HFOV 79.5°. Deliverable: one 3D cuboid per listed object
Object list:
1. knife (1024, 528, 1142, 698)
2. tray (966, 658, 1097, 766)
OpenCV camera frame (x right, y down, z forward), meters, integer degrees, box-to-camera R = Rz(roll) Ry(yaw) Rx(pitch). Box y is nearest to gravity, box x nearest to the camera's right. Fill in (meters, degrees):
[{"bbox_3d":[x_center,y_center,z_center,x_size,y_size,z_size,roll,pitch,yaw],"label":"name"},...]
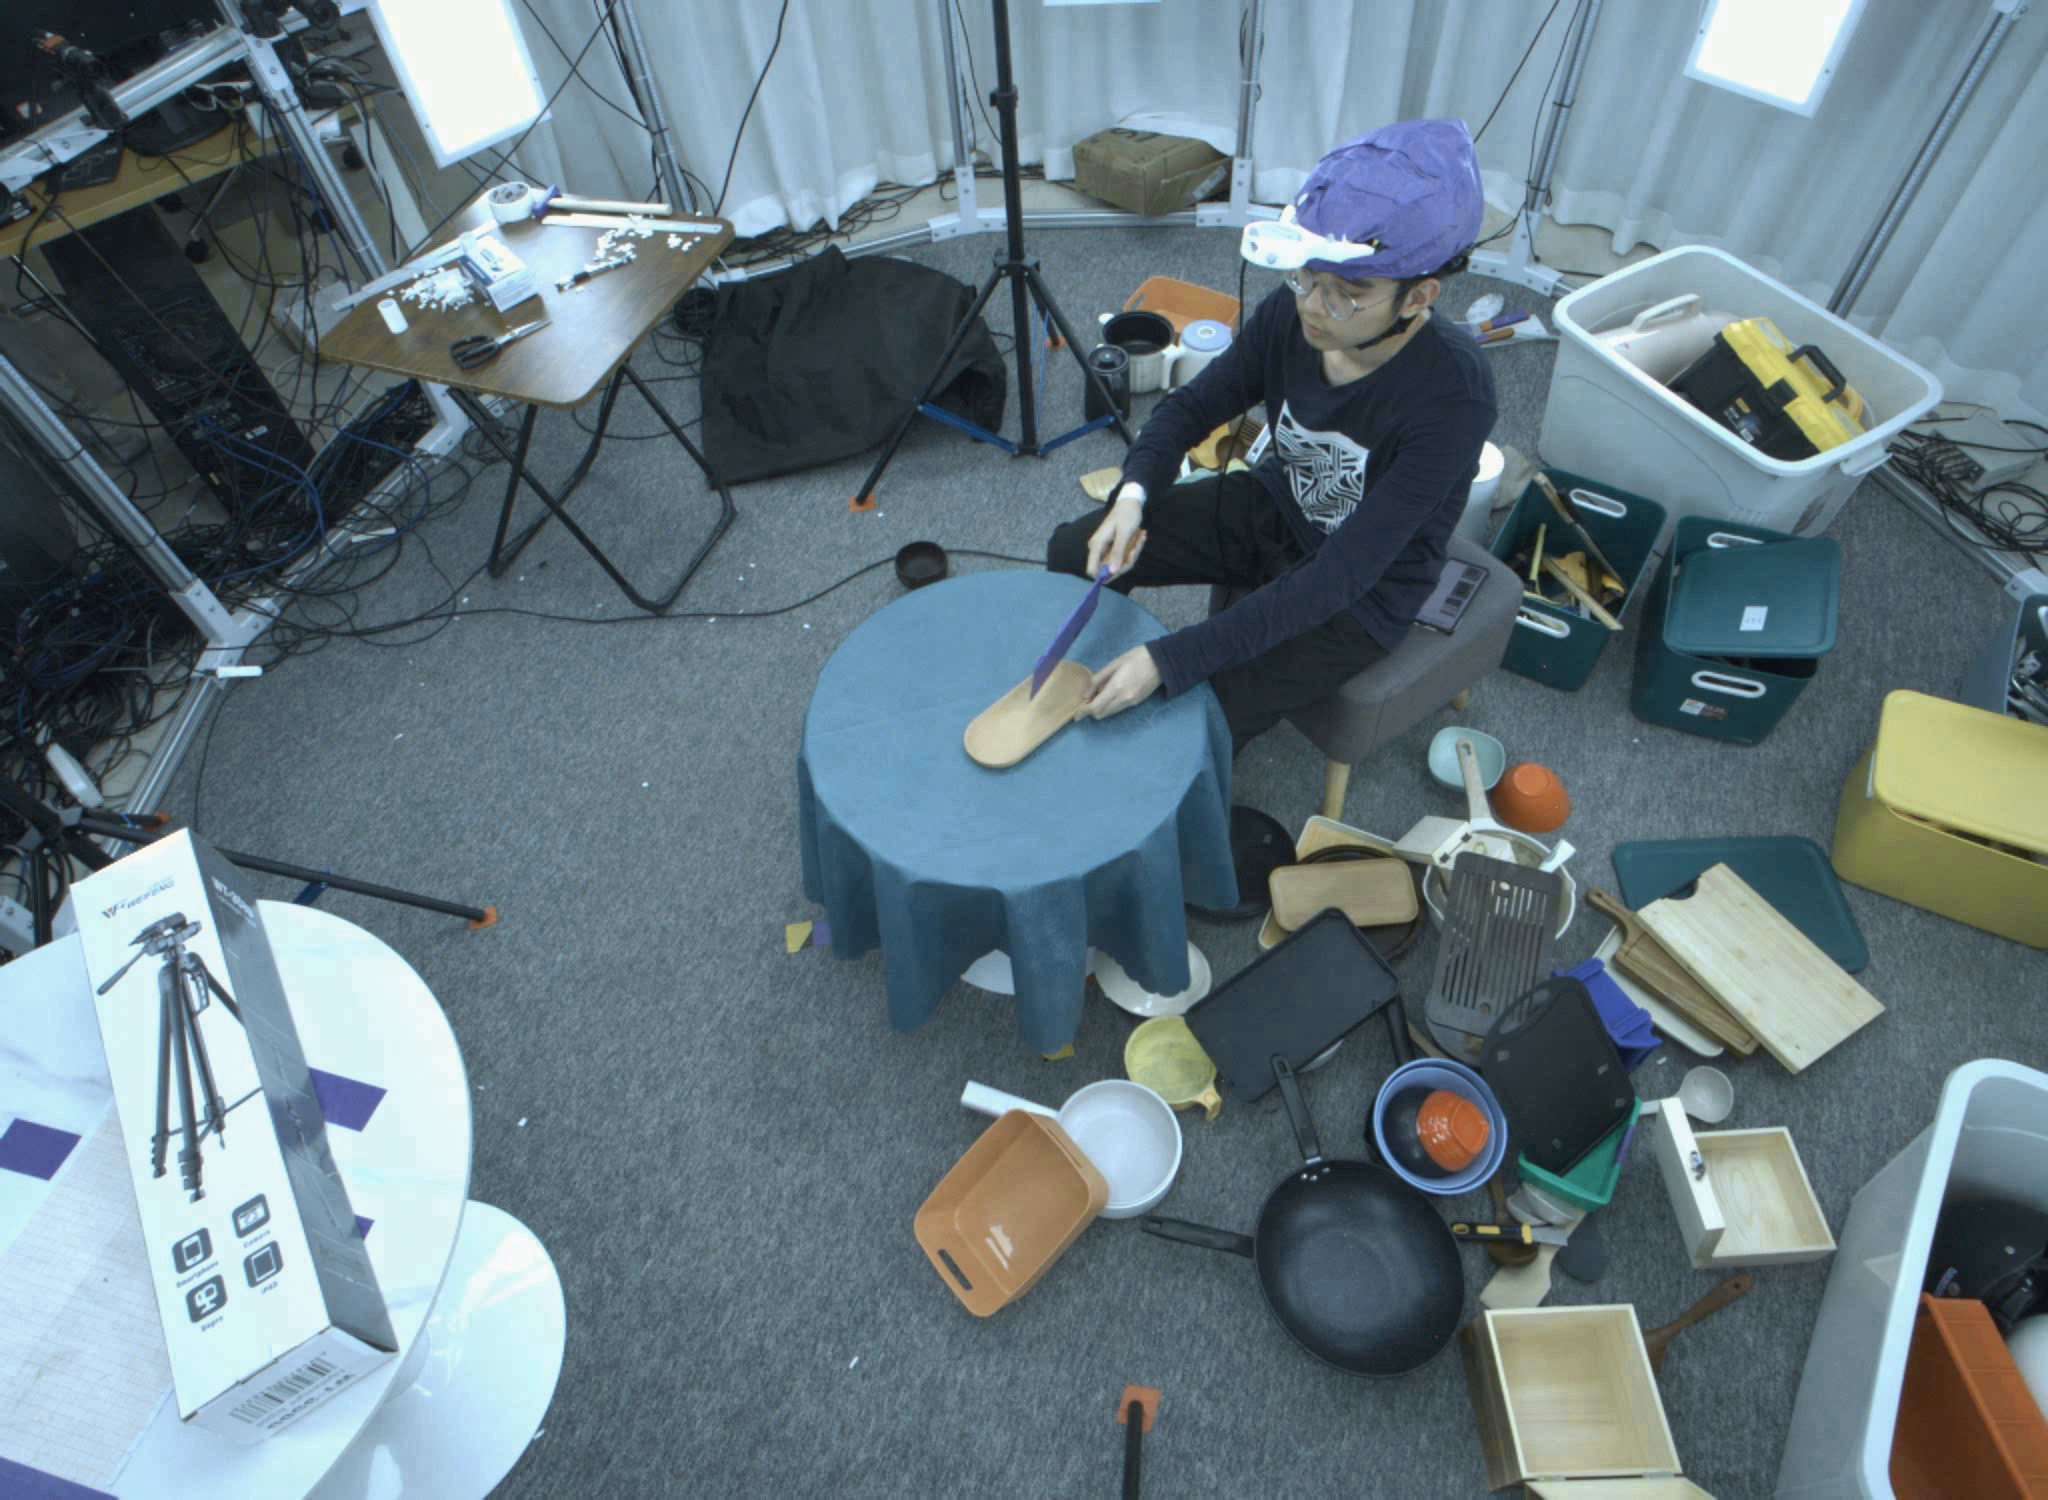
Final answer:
[{"bbox_3d":[0.084,-0.208,1.851,0.032,0.104,0.316,31,62,12],"label":"knife"},{"bbox_3d":[0.012,-0.057,1.823,0.100,0.020,0.233,38,62,26],"label":"tray"}]
